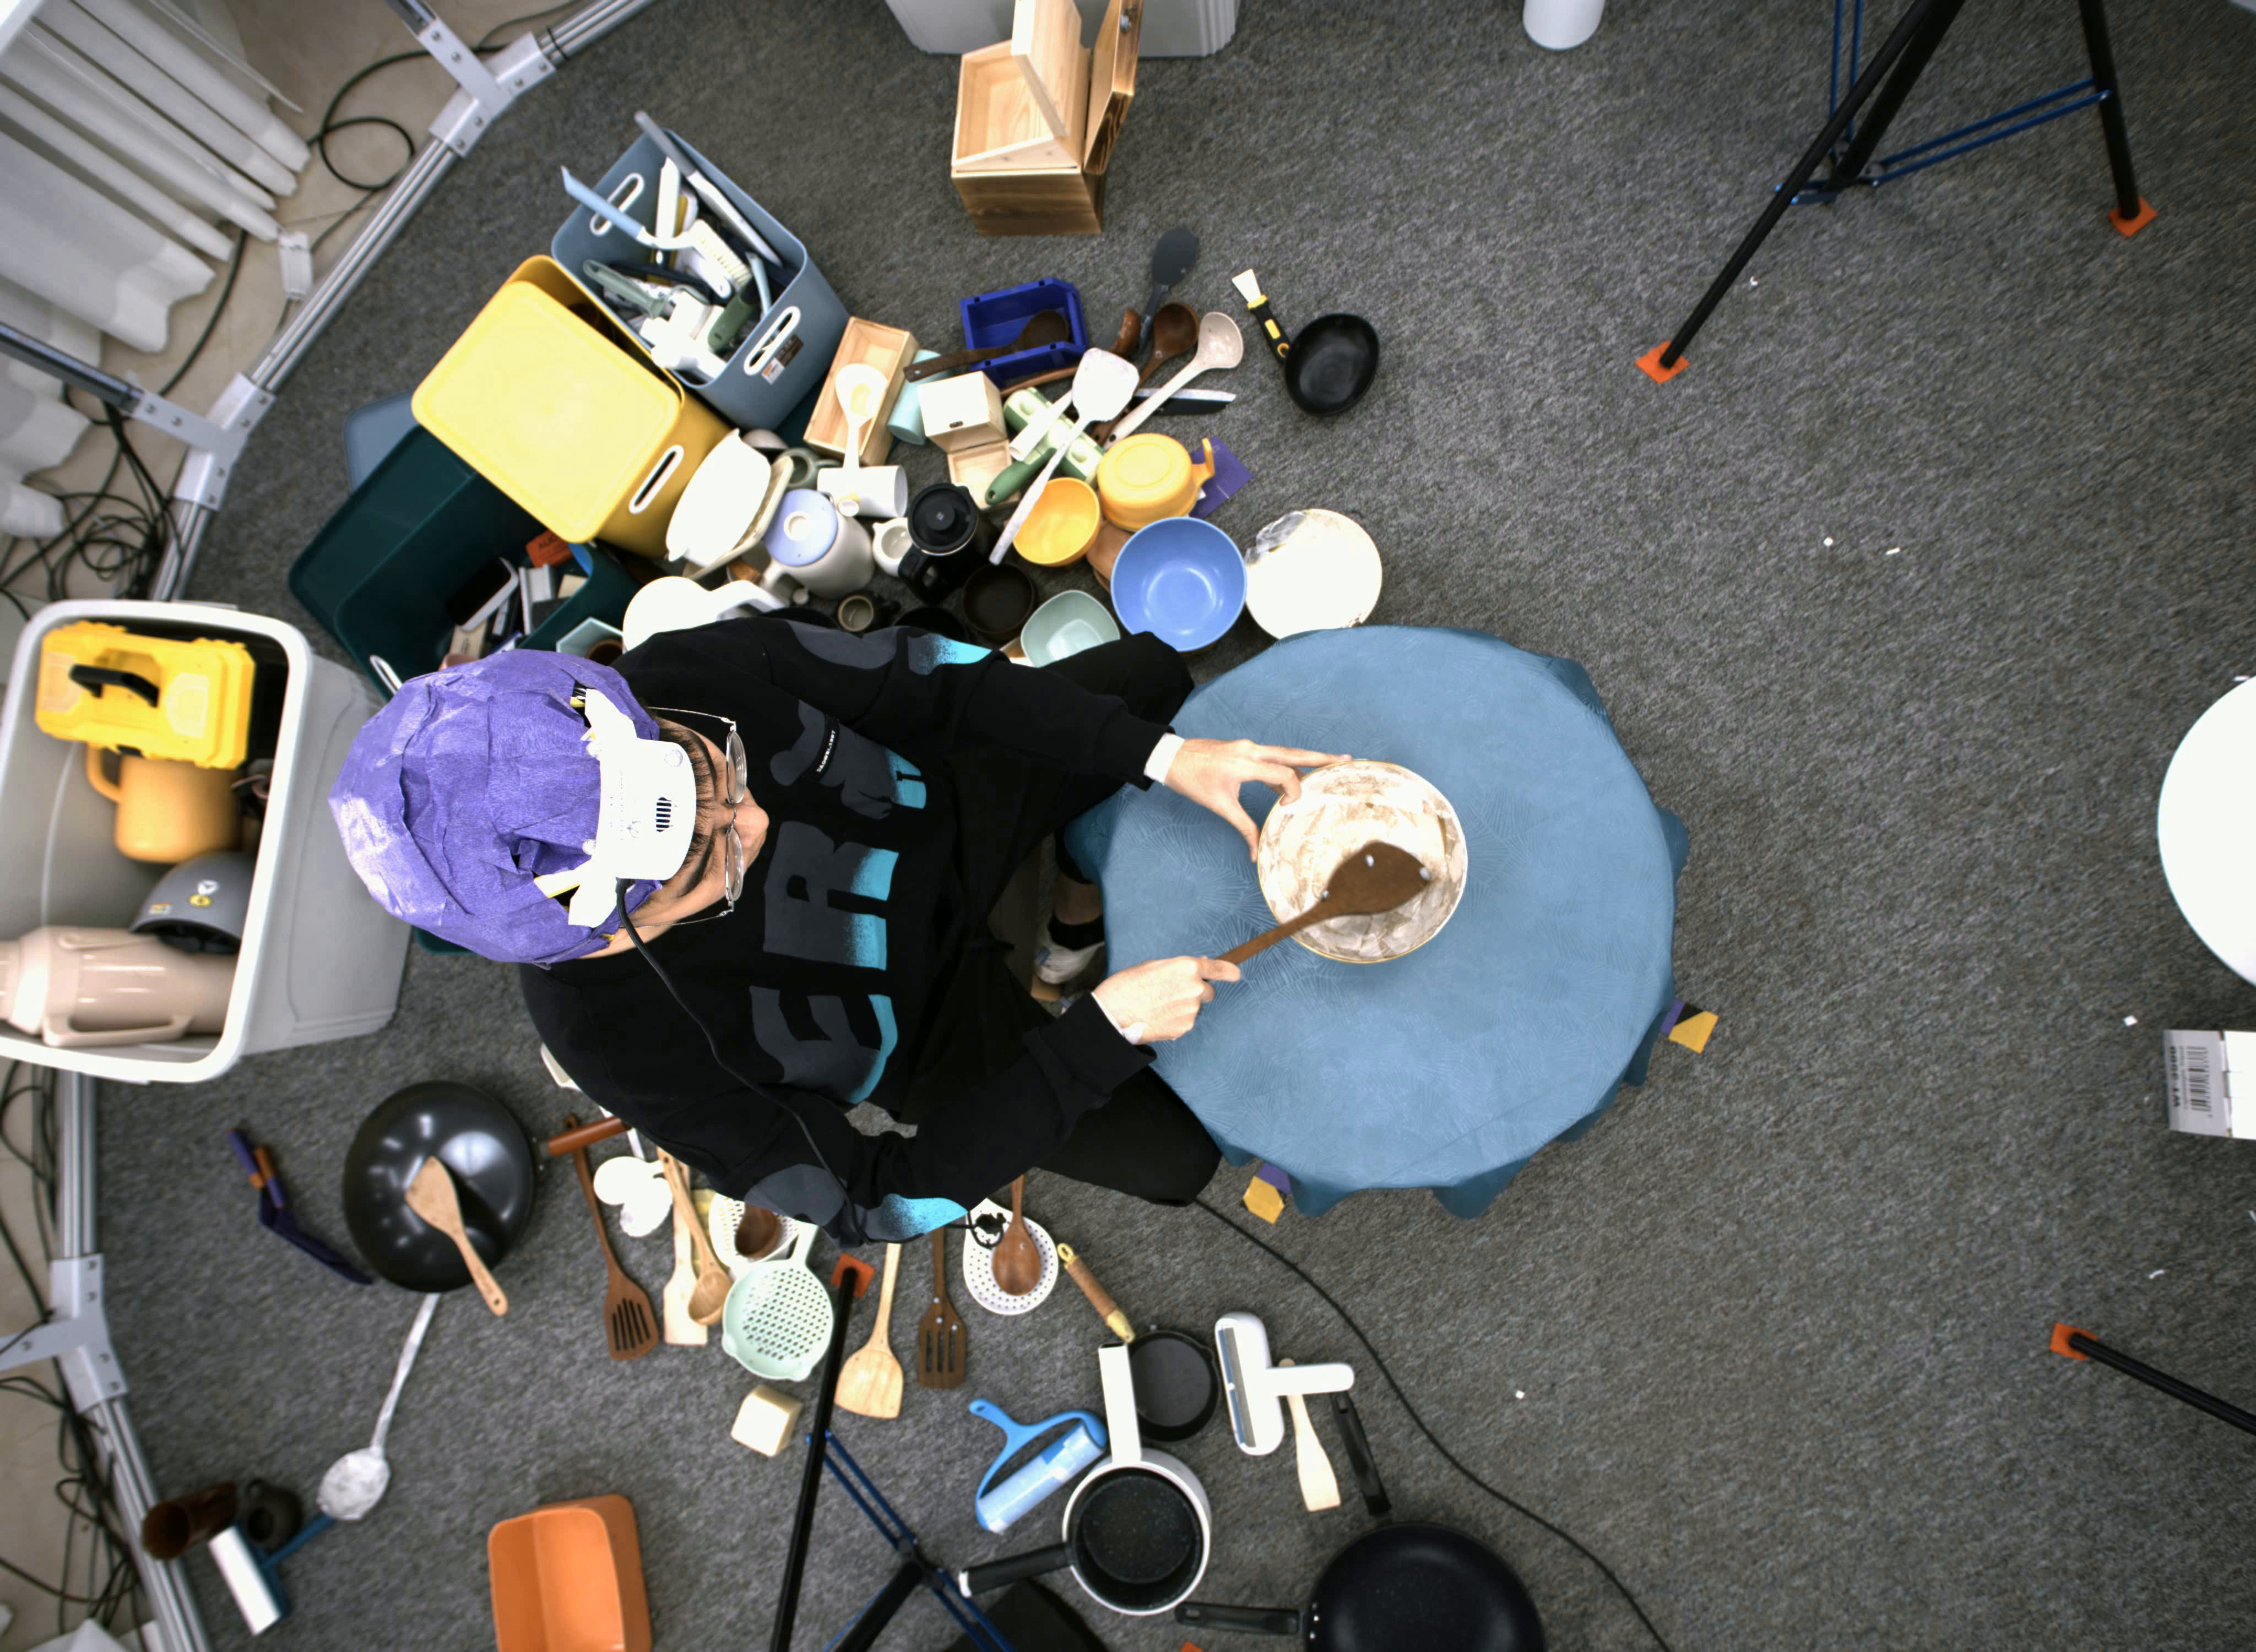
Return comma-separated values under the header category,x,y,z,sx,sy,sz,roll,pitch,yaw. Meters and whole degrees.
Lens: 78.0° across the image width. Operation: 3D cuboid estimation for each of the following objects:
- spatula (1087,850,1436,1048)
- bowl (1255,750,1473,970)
category,x,y,z,sx,sy,sz,roll,pitch,yaw
spatula,0.128,0.118,1.336,0.382,0.095,0.016,-26,123,-16
bowl,0.227,0.031,1.371,0.215,0.094,0.216,0,98,1
